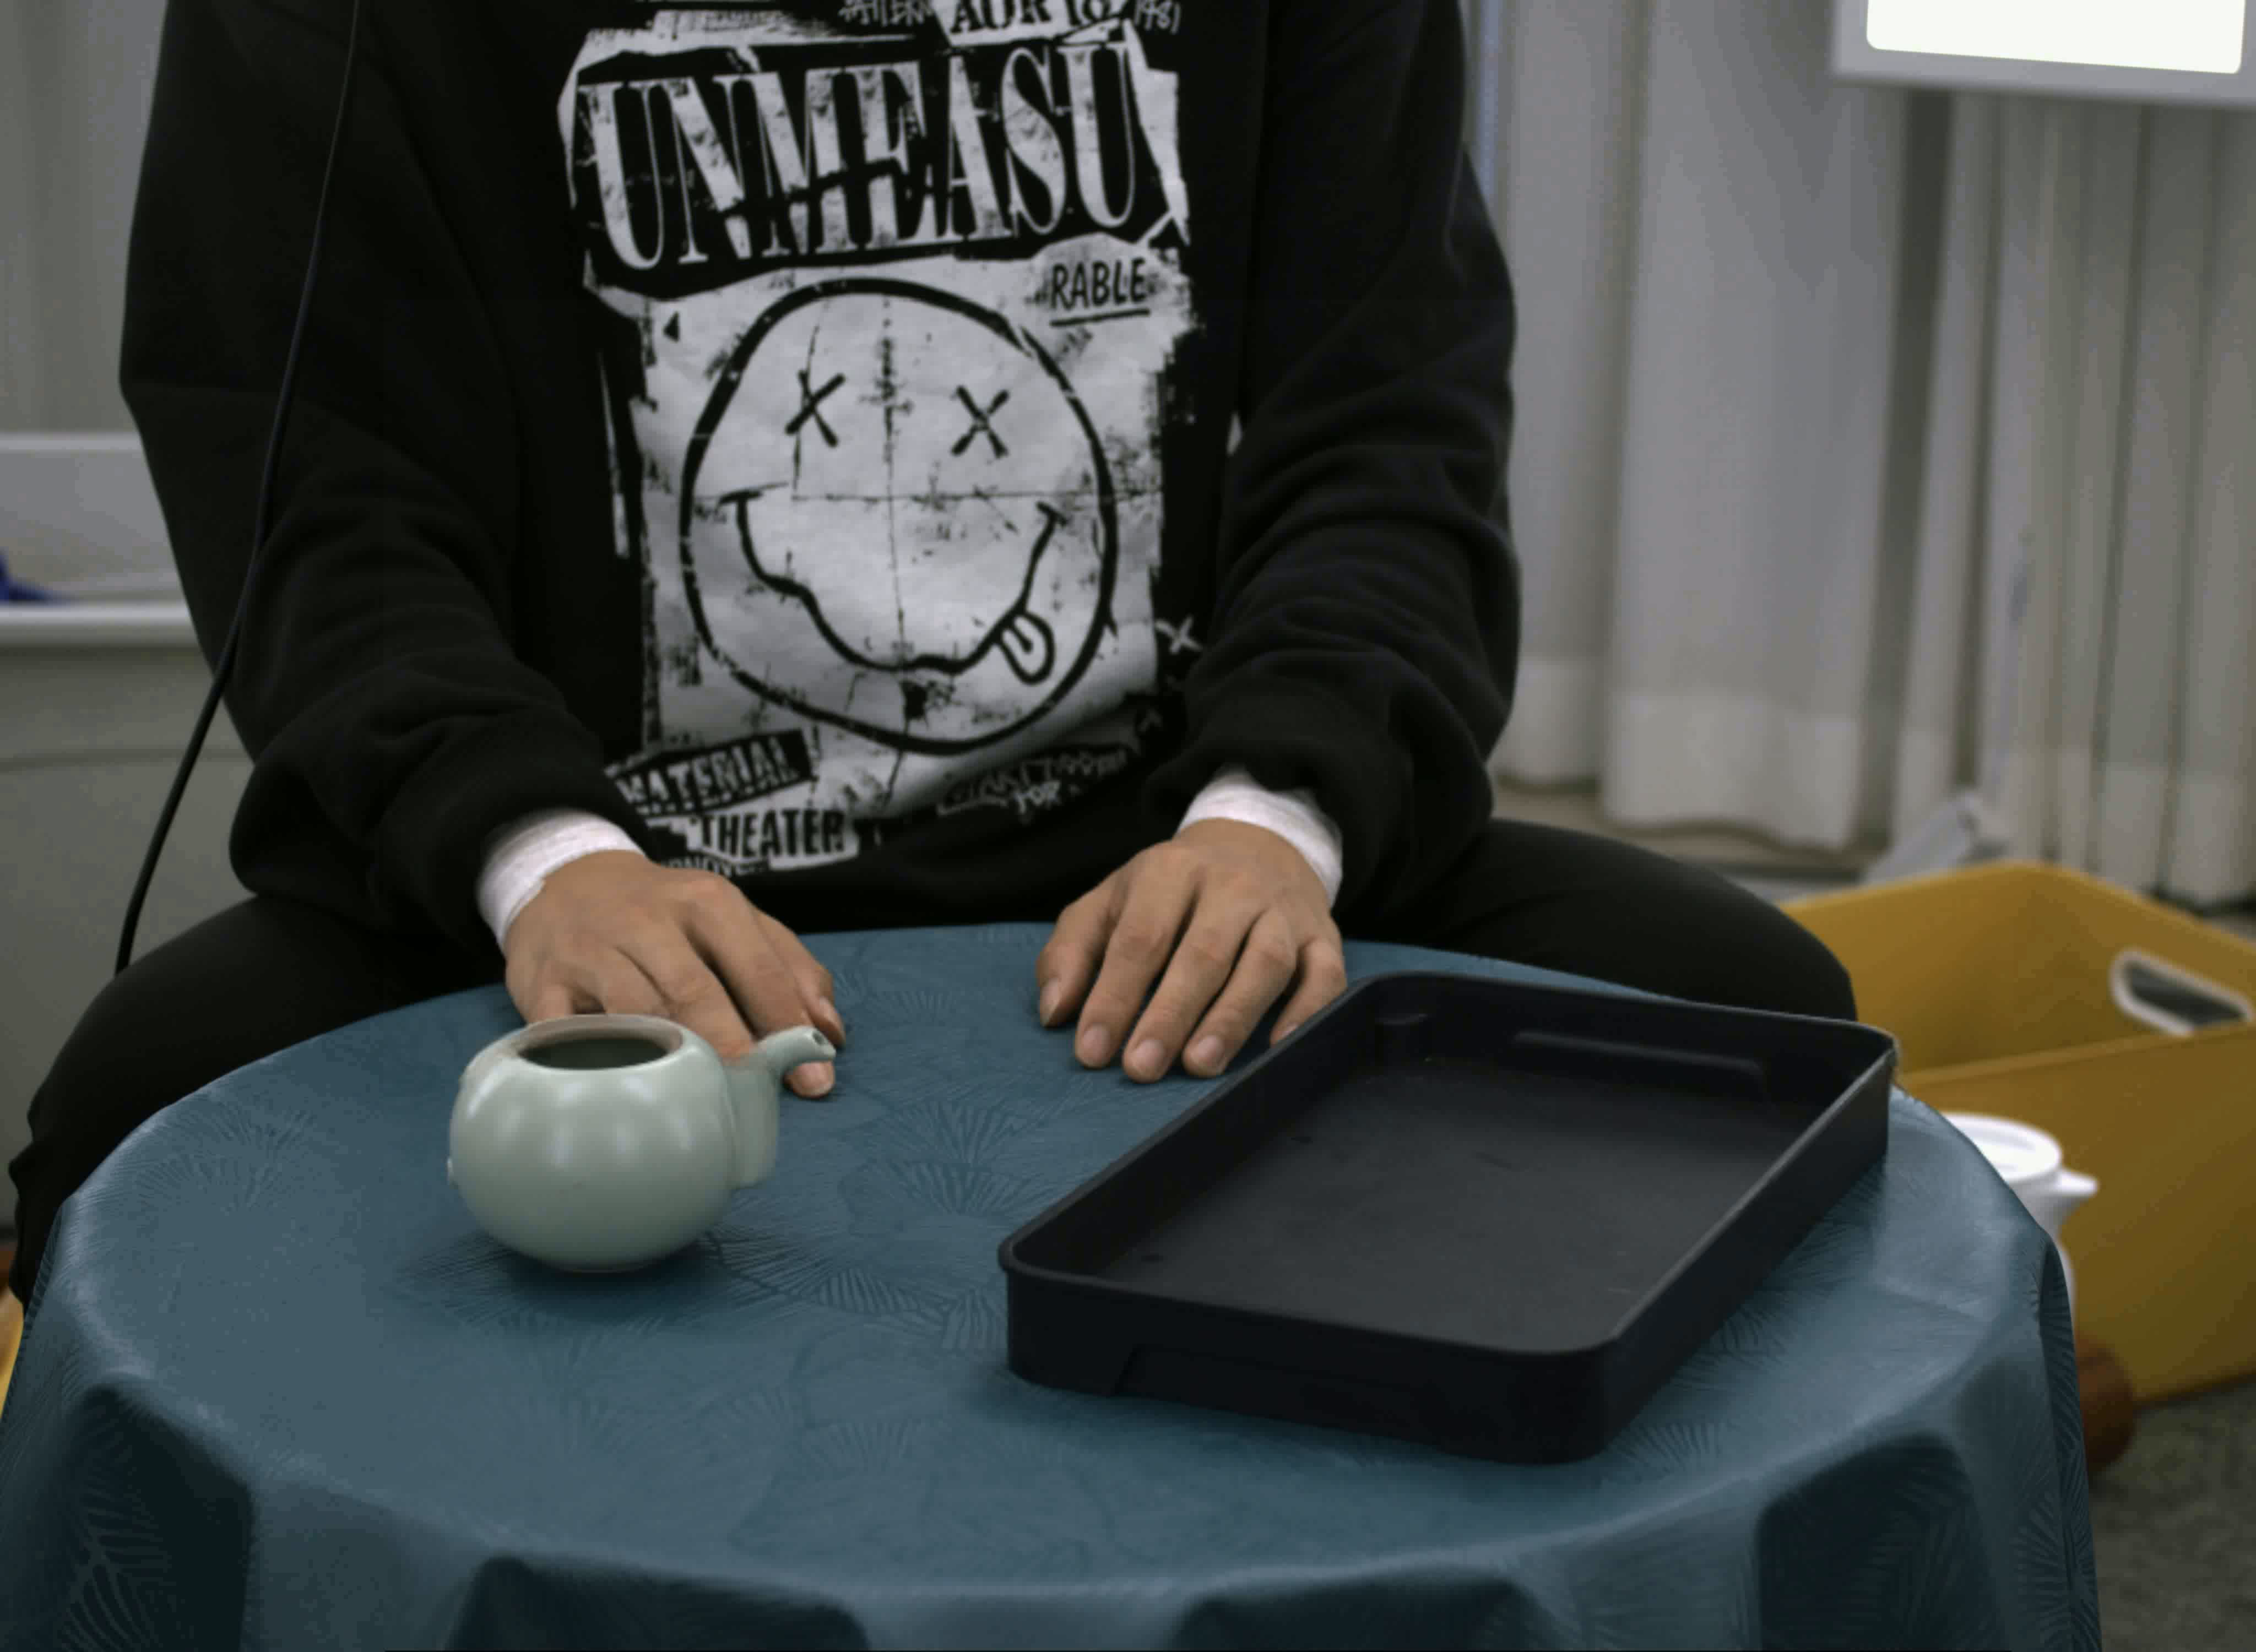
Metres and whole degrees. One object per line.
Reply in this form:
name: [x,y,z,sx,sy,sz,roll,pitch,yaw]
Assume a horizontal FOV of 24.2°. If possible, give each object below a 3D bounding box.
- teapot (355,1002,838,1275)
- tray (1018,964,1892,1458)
teapot: [-0.157,0.091,1.557,0.143,0.075,0.088,4,16,6]
tray: [0.106,0.108,1.575,0.182,0.037,0.318,6,17,21]
